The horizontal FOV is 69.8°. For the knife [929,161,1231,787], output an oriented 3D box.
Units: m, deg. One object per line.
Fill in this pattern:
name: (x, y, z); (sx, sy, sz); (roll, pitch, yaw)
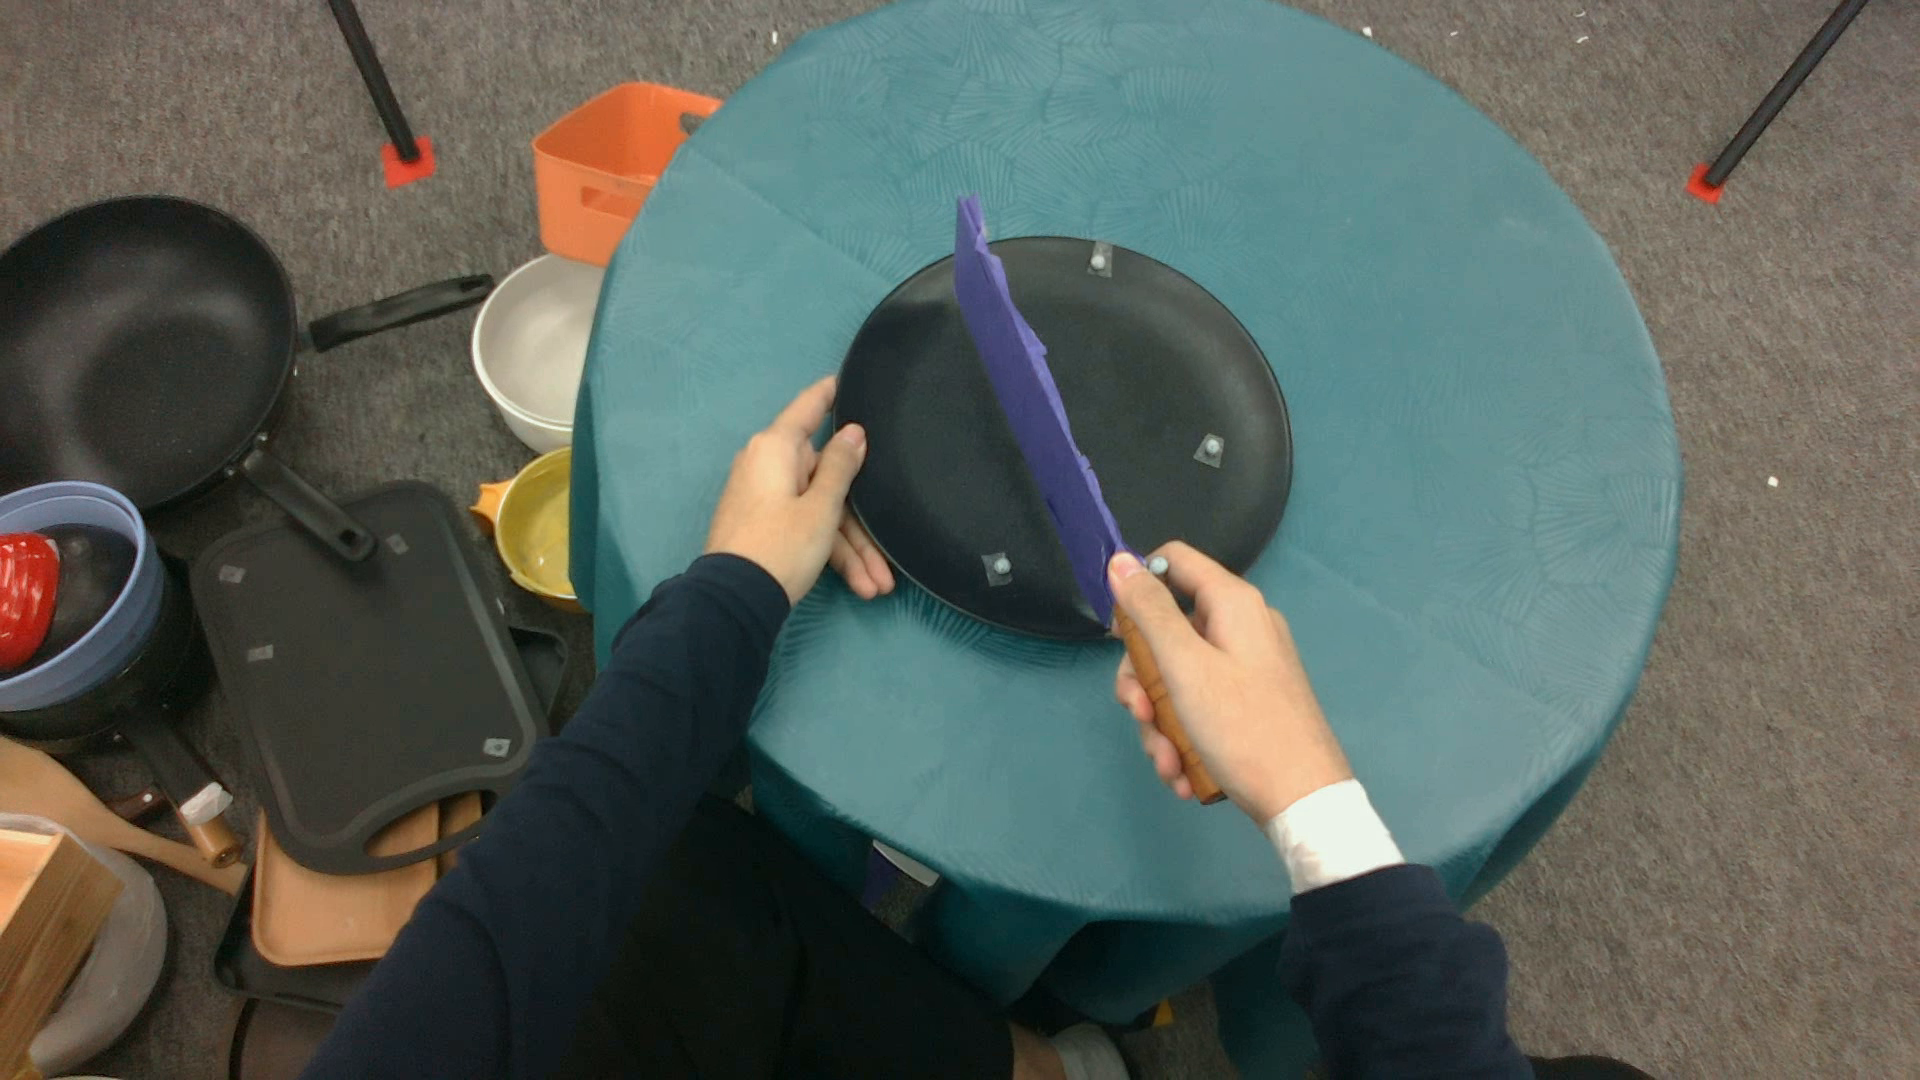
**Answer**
knife: (0.046, -0.029, 0.649); (0.032, 0.103, 0.316); (-18, 69, -8)

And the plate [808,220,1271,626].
plate: (0.042, -0.065, 0.725); (0.244, 0.023, 0.245); (3, 64, -6)
